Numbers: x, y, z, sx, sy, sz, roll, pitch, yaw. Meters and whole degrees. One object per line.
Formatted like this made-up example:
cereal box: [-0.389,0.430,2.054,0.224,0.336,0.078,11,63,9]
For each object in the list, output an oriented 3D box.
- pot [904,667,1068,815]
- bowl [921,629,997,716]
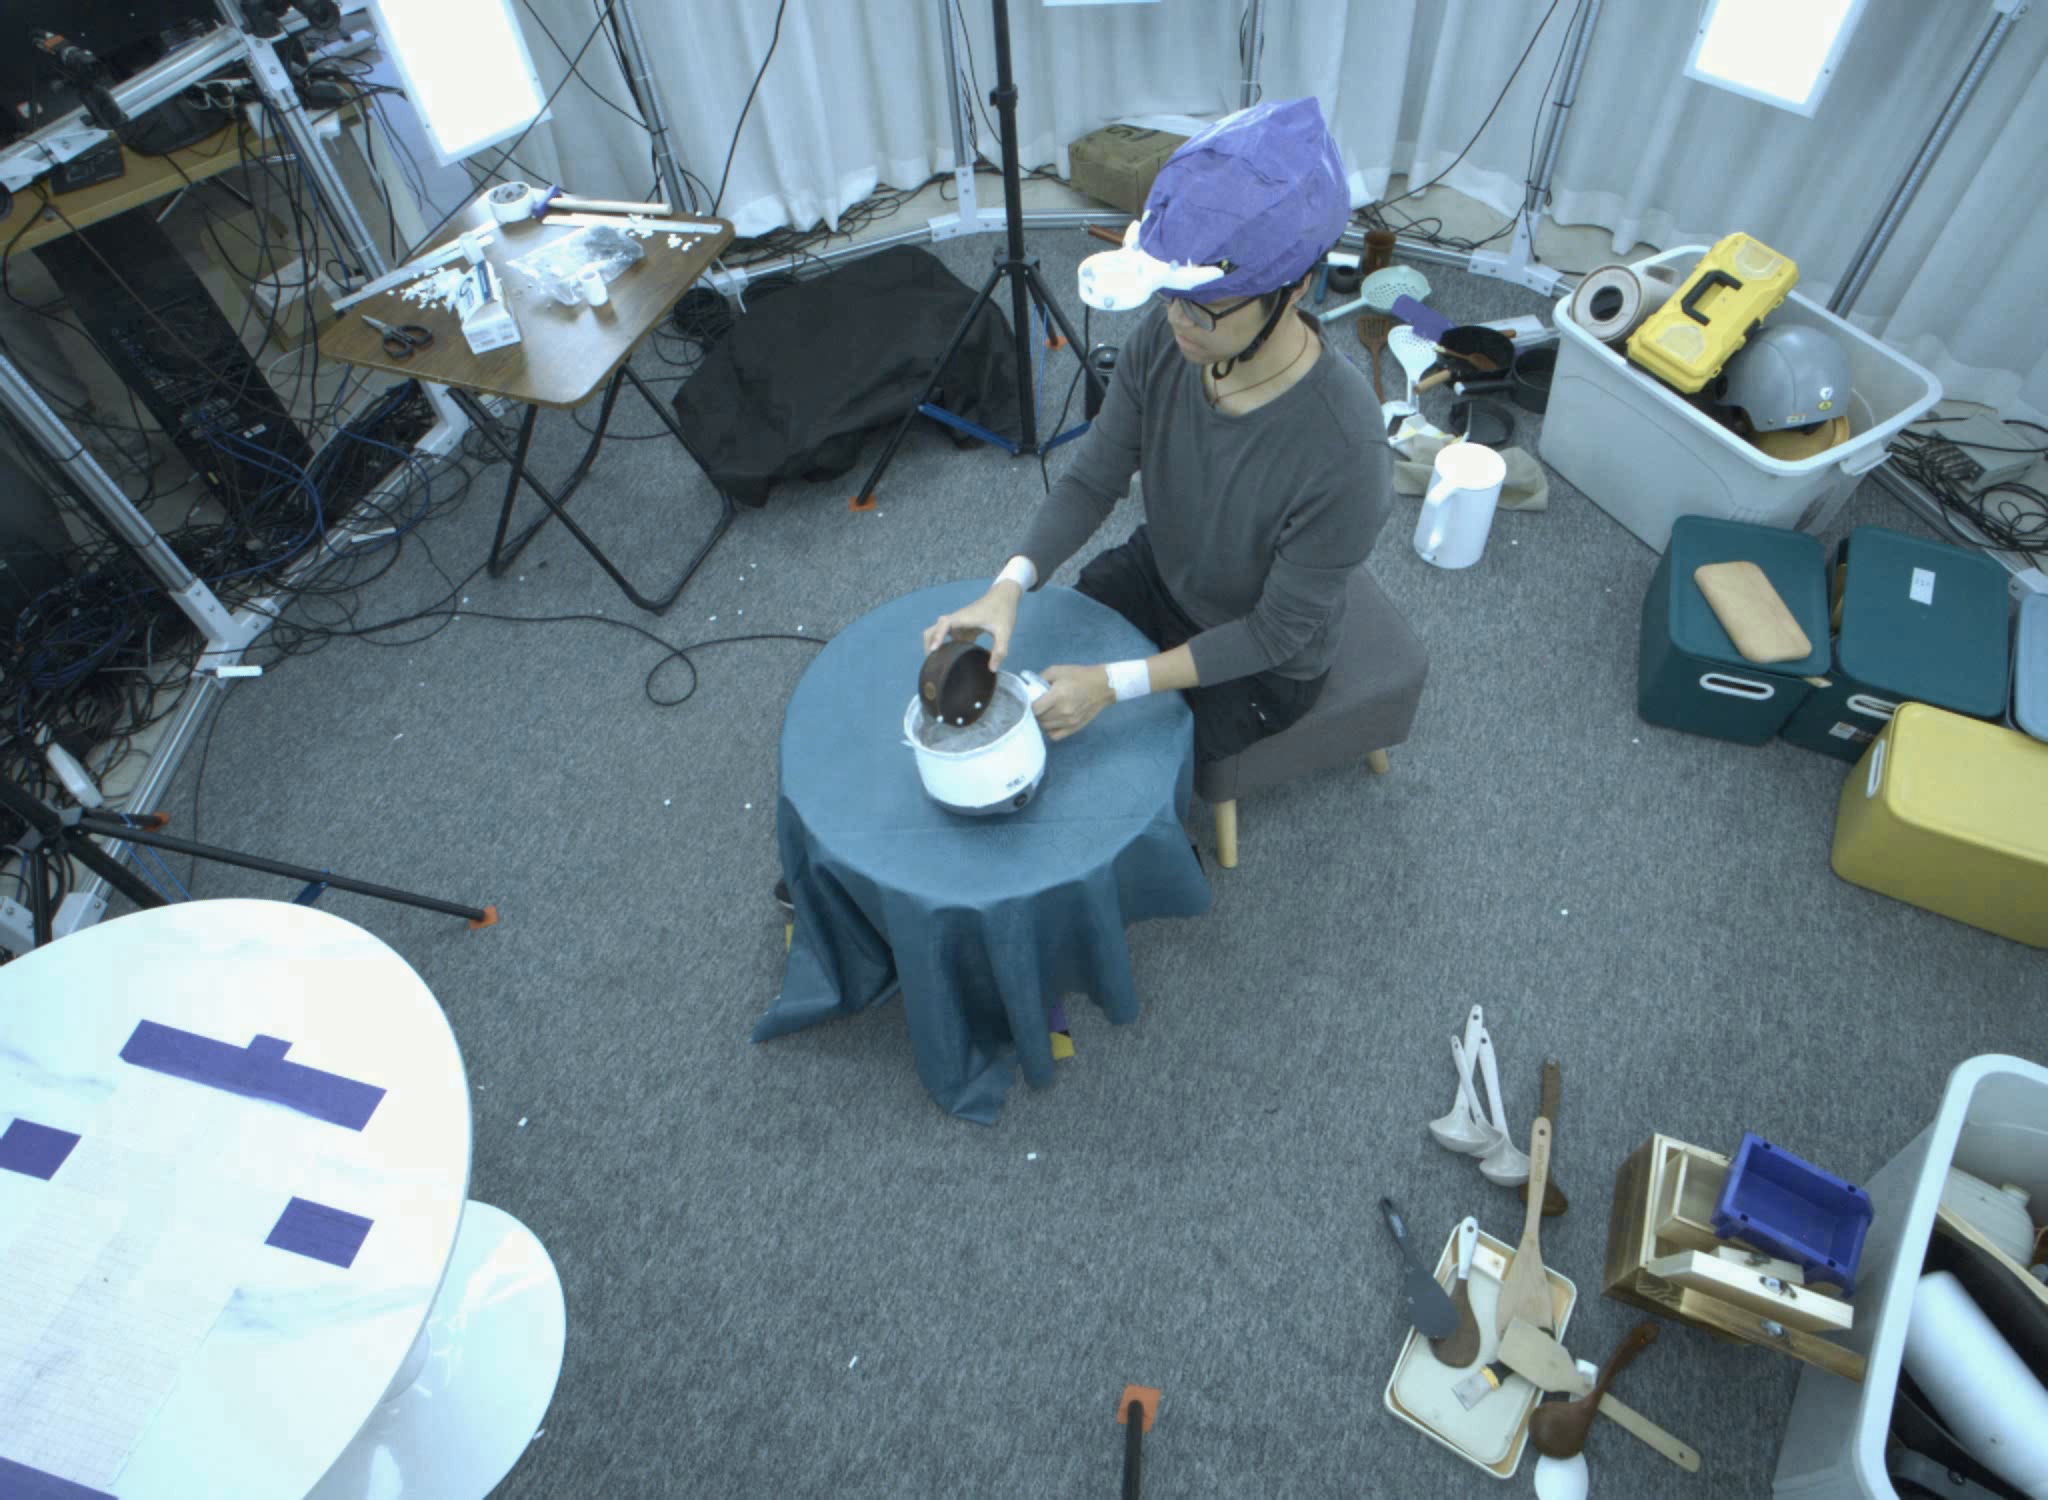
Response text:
pot: [-0.043,-0.023,1.715,0.235,0.138,0.174,-34,47,-21]
bowl: [-0.097,-0.110,1.678,0.068,0.120,0.118,16,56,27]
